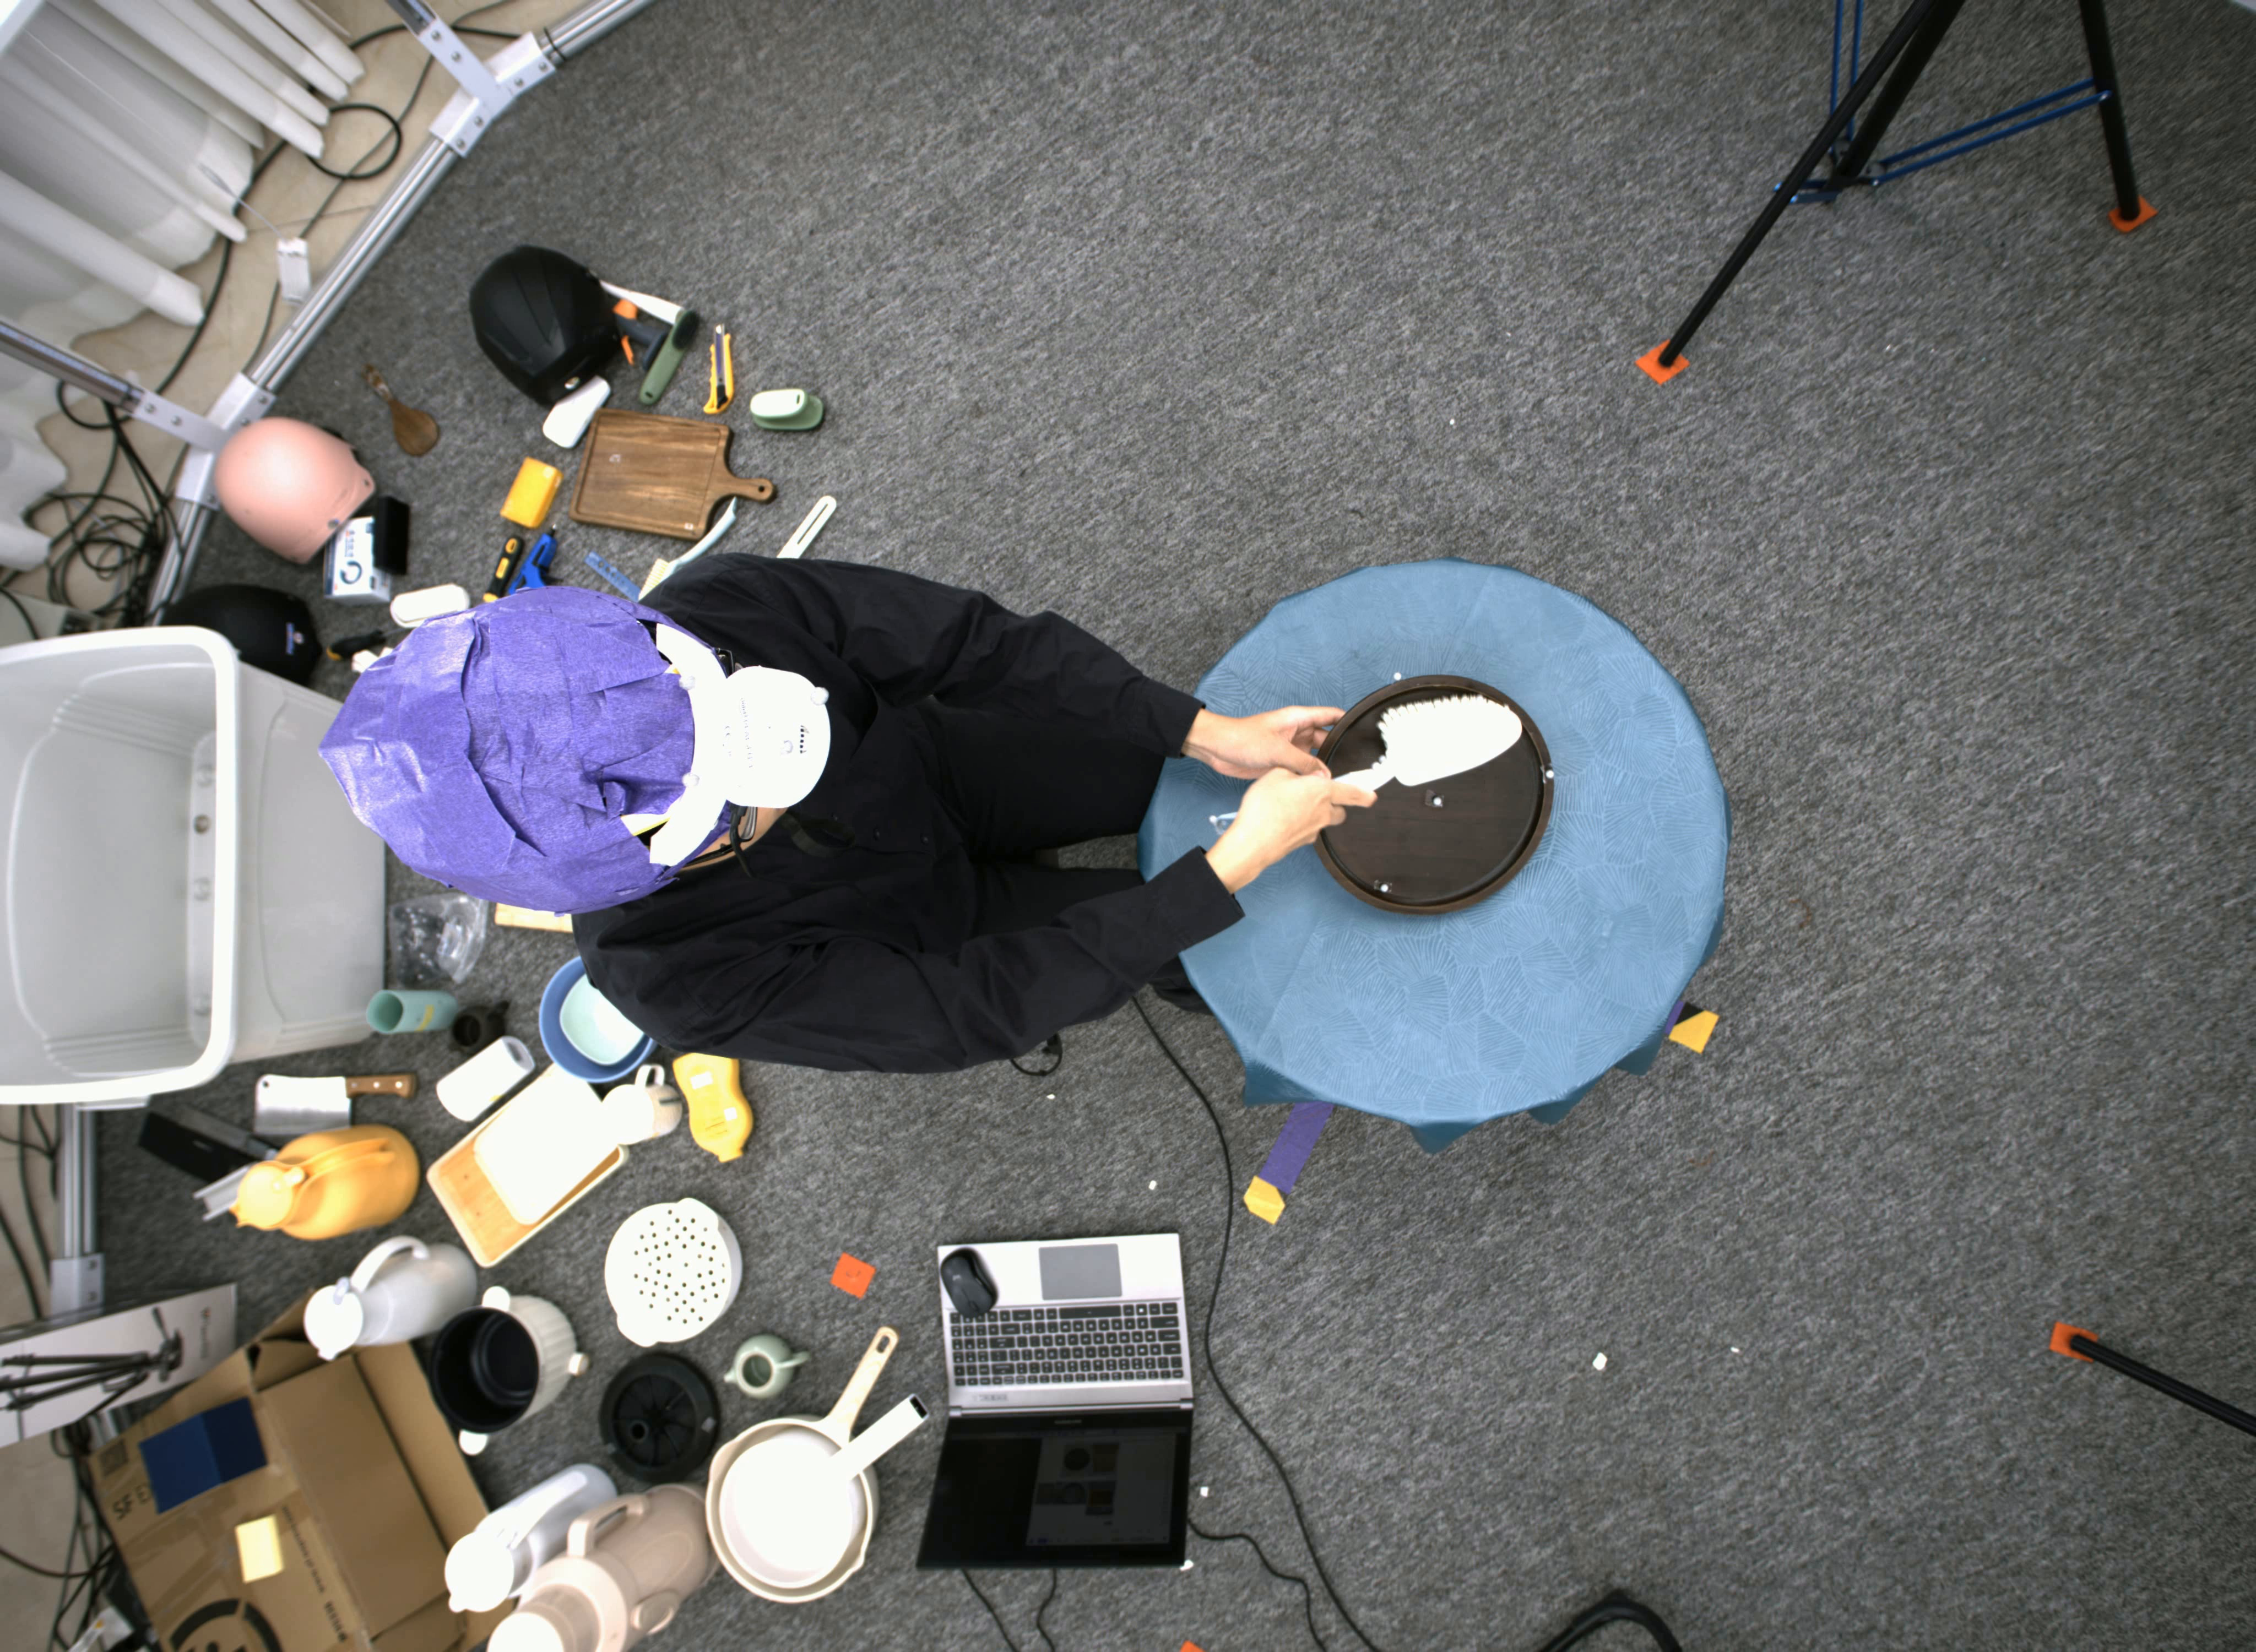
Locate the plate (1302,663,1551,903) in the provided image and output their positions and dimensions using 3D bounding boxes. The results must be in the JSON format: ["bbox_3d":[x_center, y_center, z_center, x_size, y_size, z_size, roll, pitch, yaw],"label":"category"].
[{"bbox_3d":[0.299,-0.043,1.381,0.255,0.028,0.259,-1,114,-2],"label":"plate"}]

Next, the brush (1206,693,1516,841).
[{"bbox_3d":[0.216,-0.063,1.324,0.324,0.085,0.082,-20,77,-8],"label":"brush"}]
